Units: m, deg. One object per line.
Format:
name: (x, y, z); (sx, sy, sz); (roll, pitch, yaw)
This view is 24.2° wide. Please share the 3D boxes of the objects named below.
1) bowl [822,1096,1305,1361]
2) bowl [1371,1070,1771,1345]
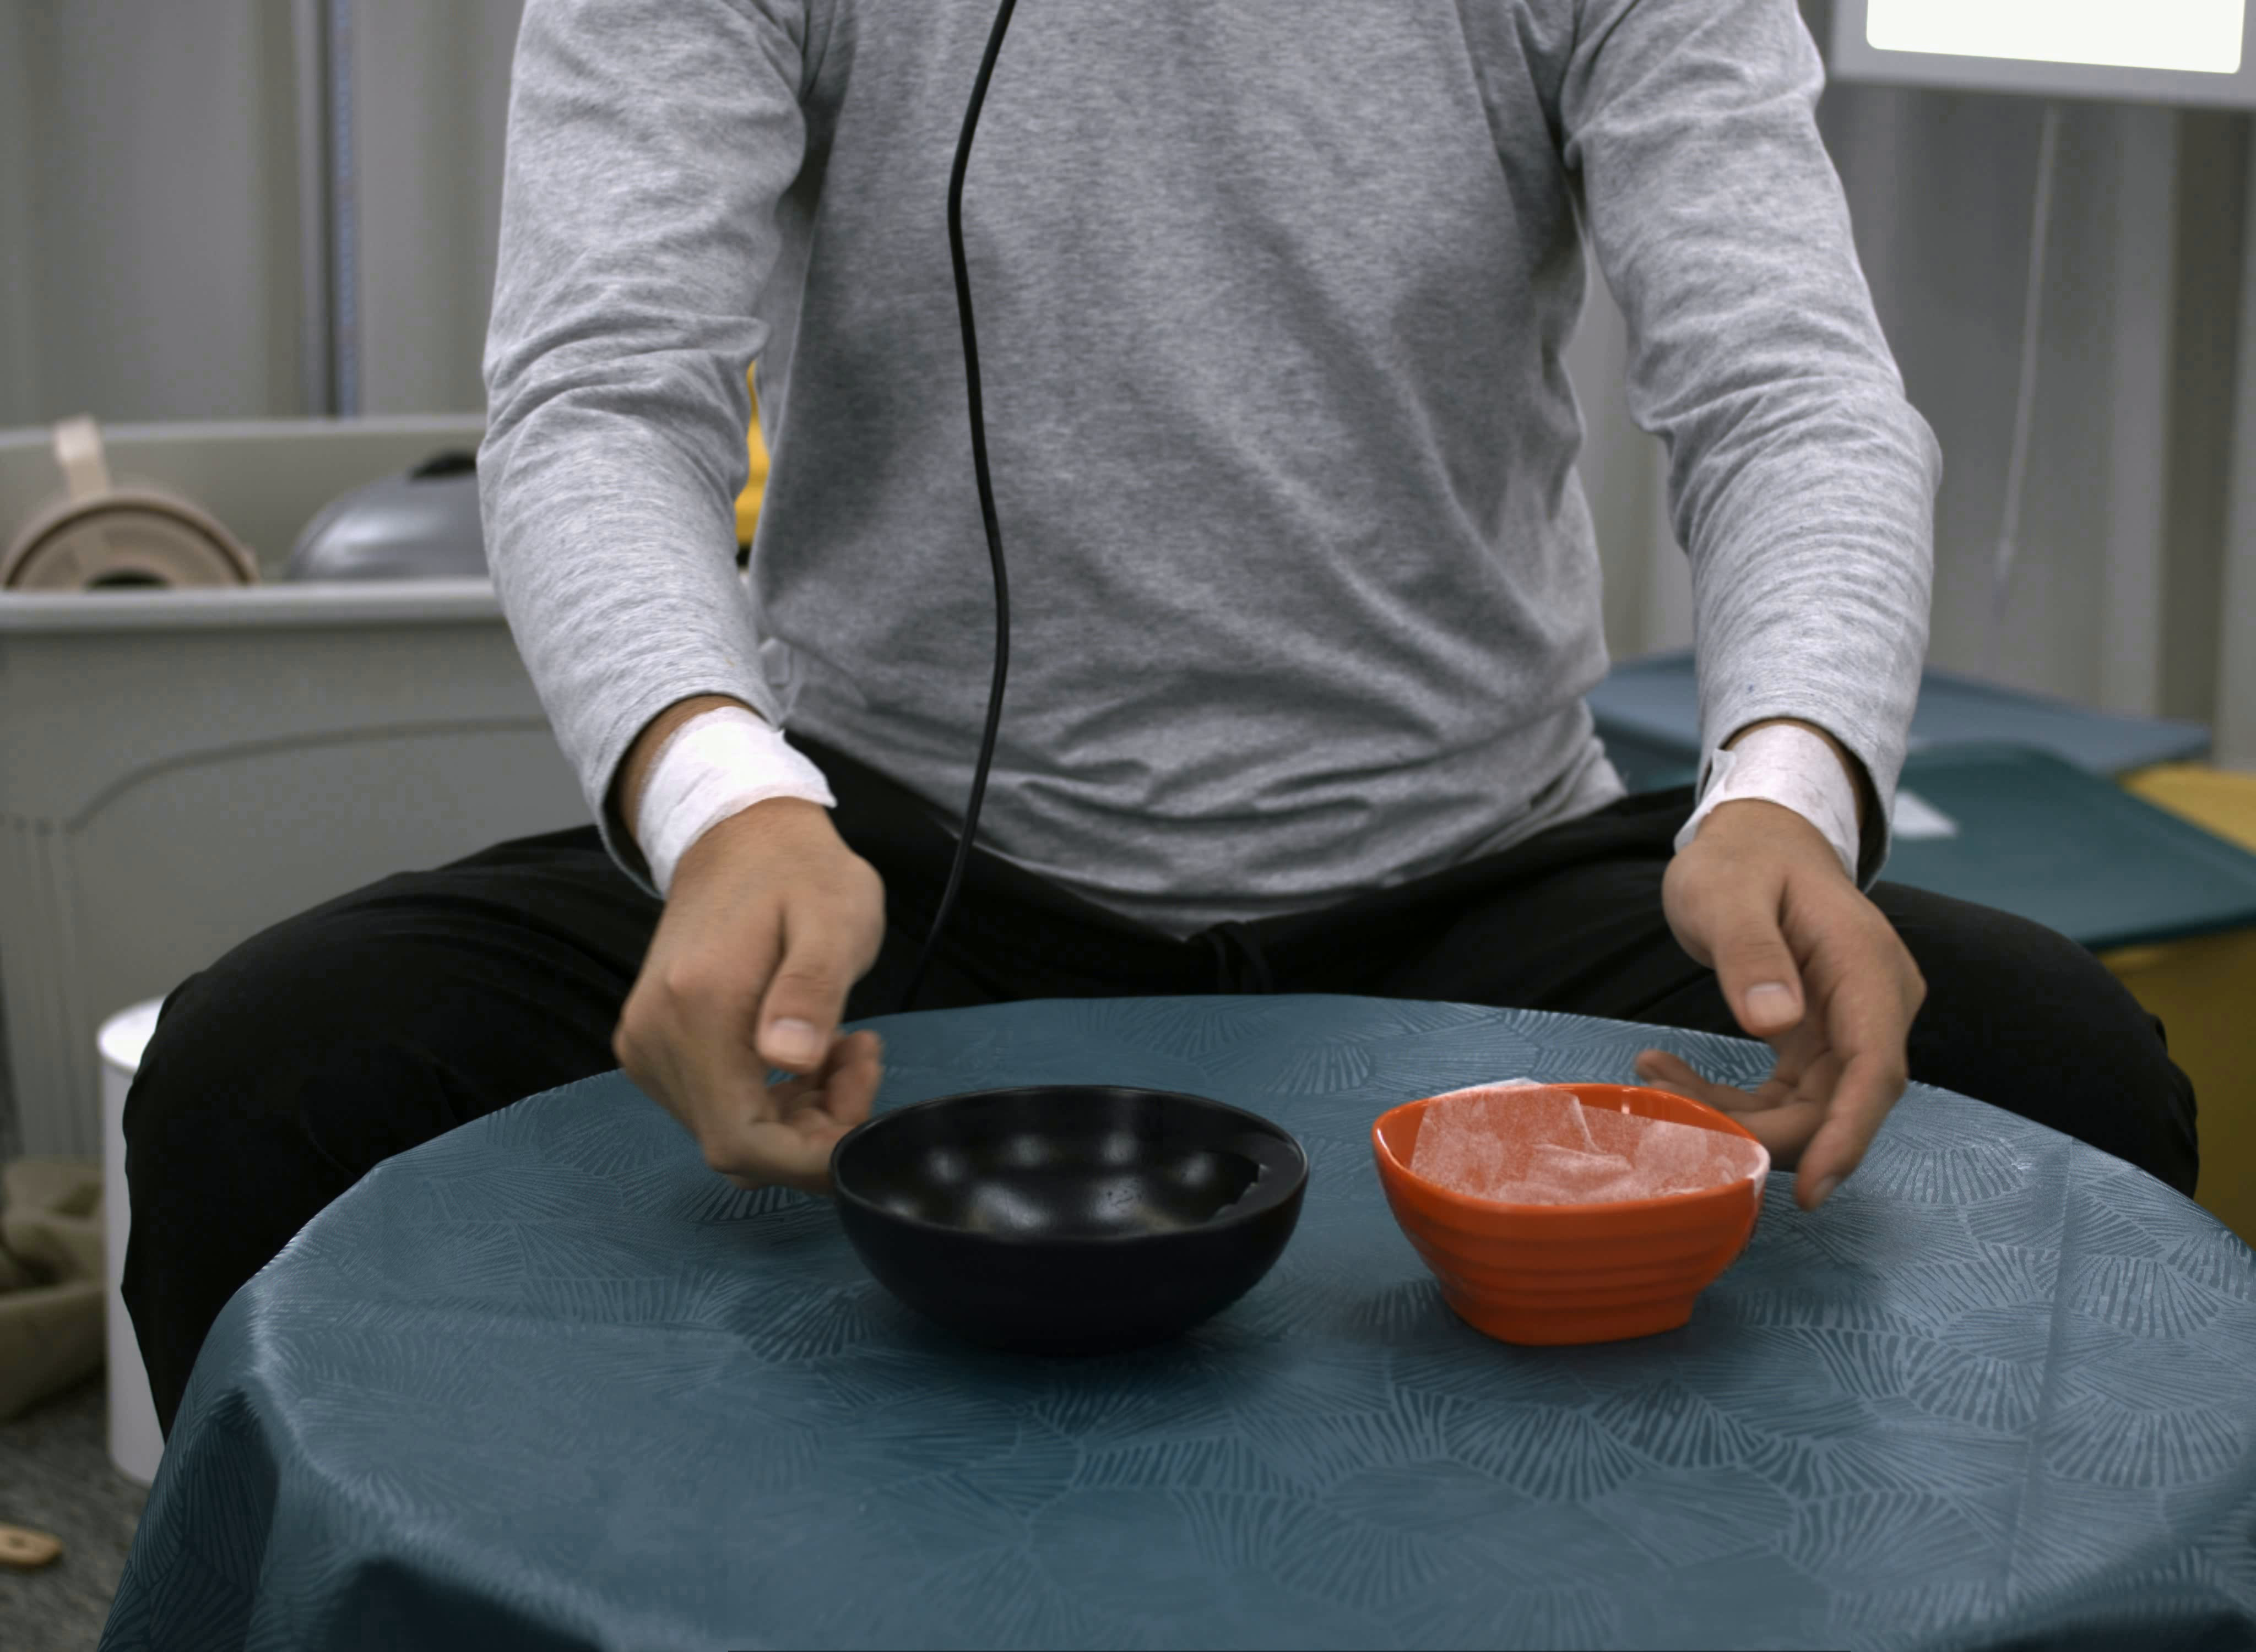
bowl: (-0.018, 0.119, 1.512); (0.139, 0.050, 0.139); (1, 13, 0)
bowl: (0.127, 0.113, 1.527); (0.118, 0.052, 0.118); (0, 18, 1)
